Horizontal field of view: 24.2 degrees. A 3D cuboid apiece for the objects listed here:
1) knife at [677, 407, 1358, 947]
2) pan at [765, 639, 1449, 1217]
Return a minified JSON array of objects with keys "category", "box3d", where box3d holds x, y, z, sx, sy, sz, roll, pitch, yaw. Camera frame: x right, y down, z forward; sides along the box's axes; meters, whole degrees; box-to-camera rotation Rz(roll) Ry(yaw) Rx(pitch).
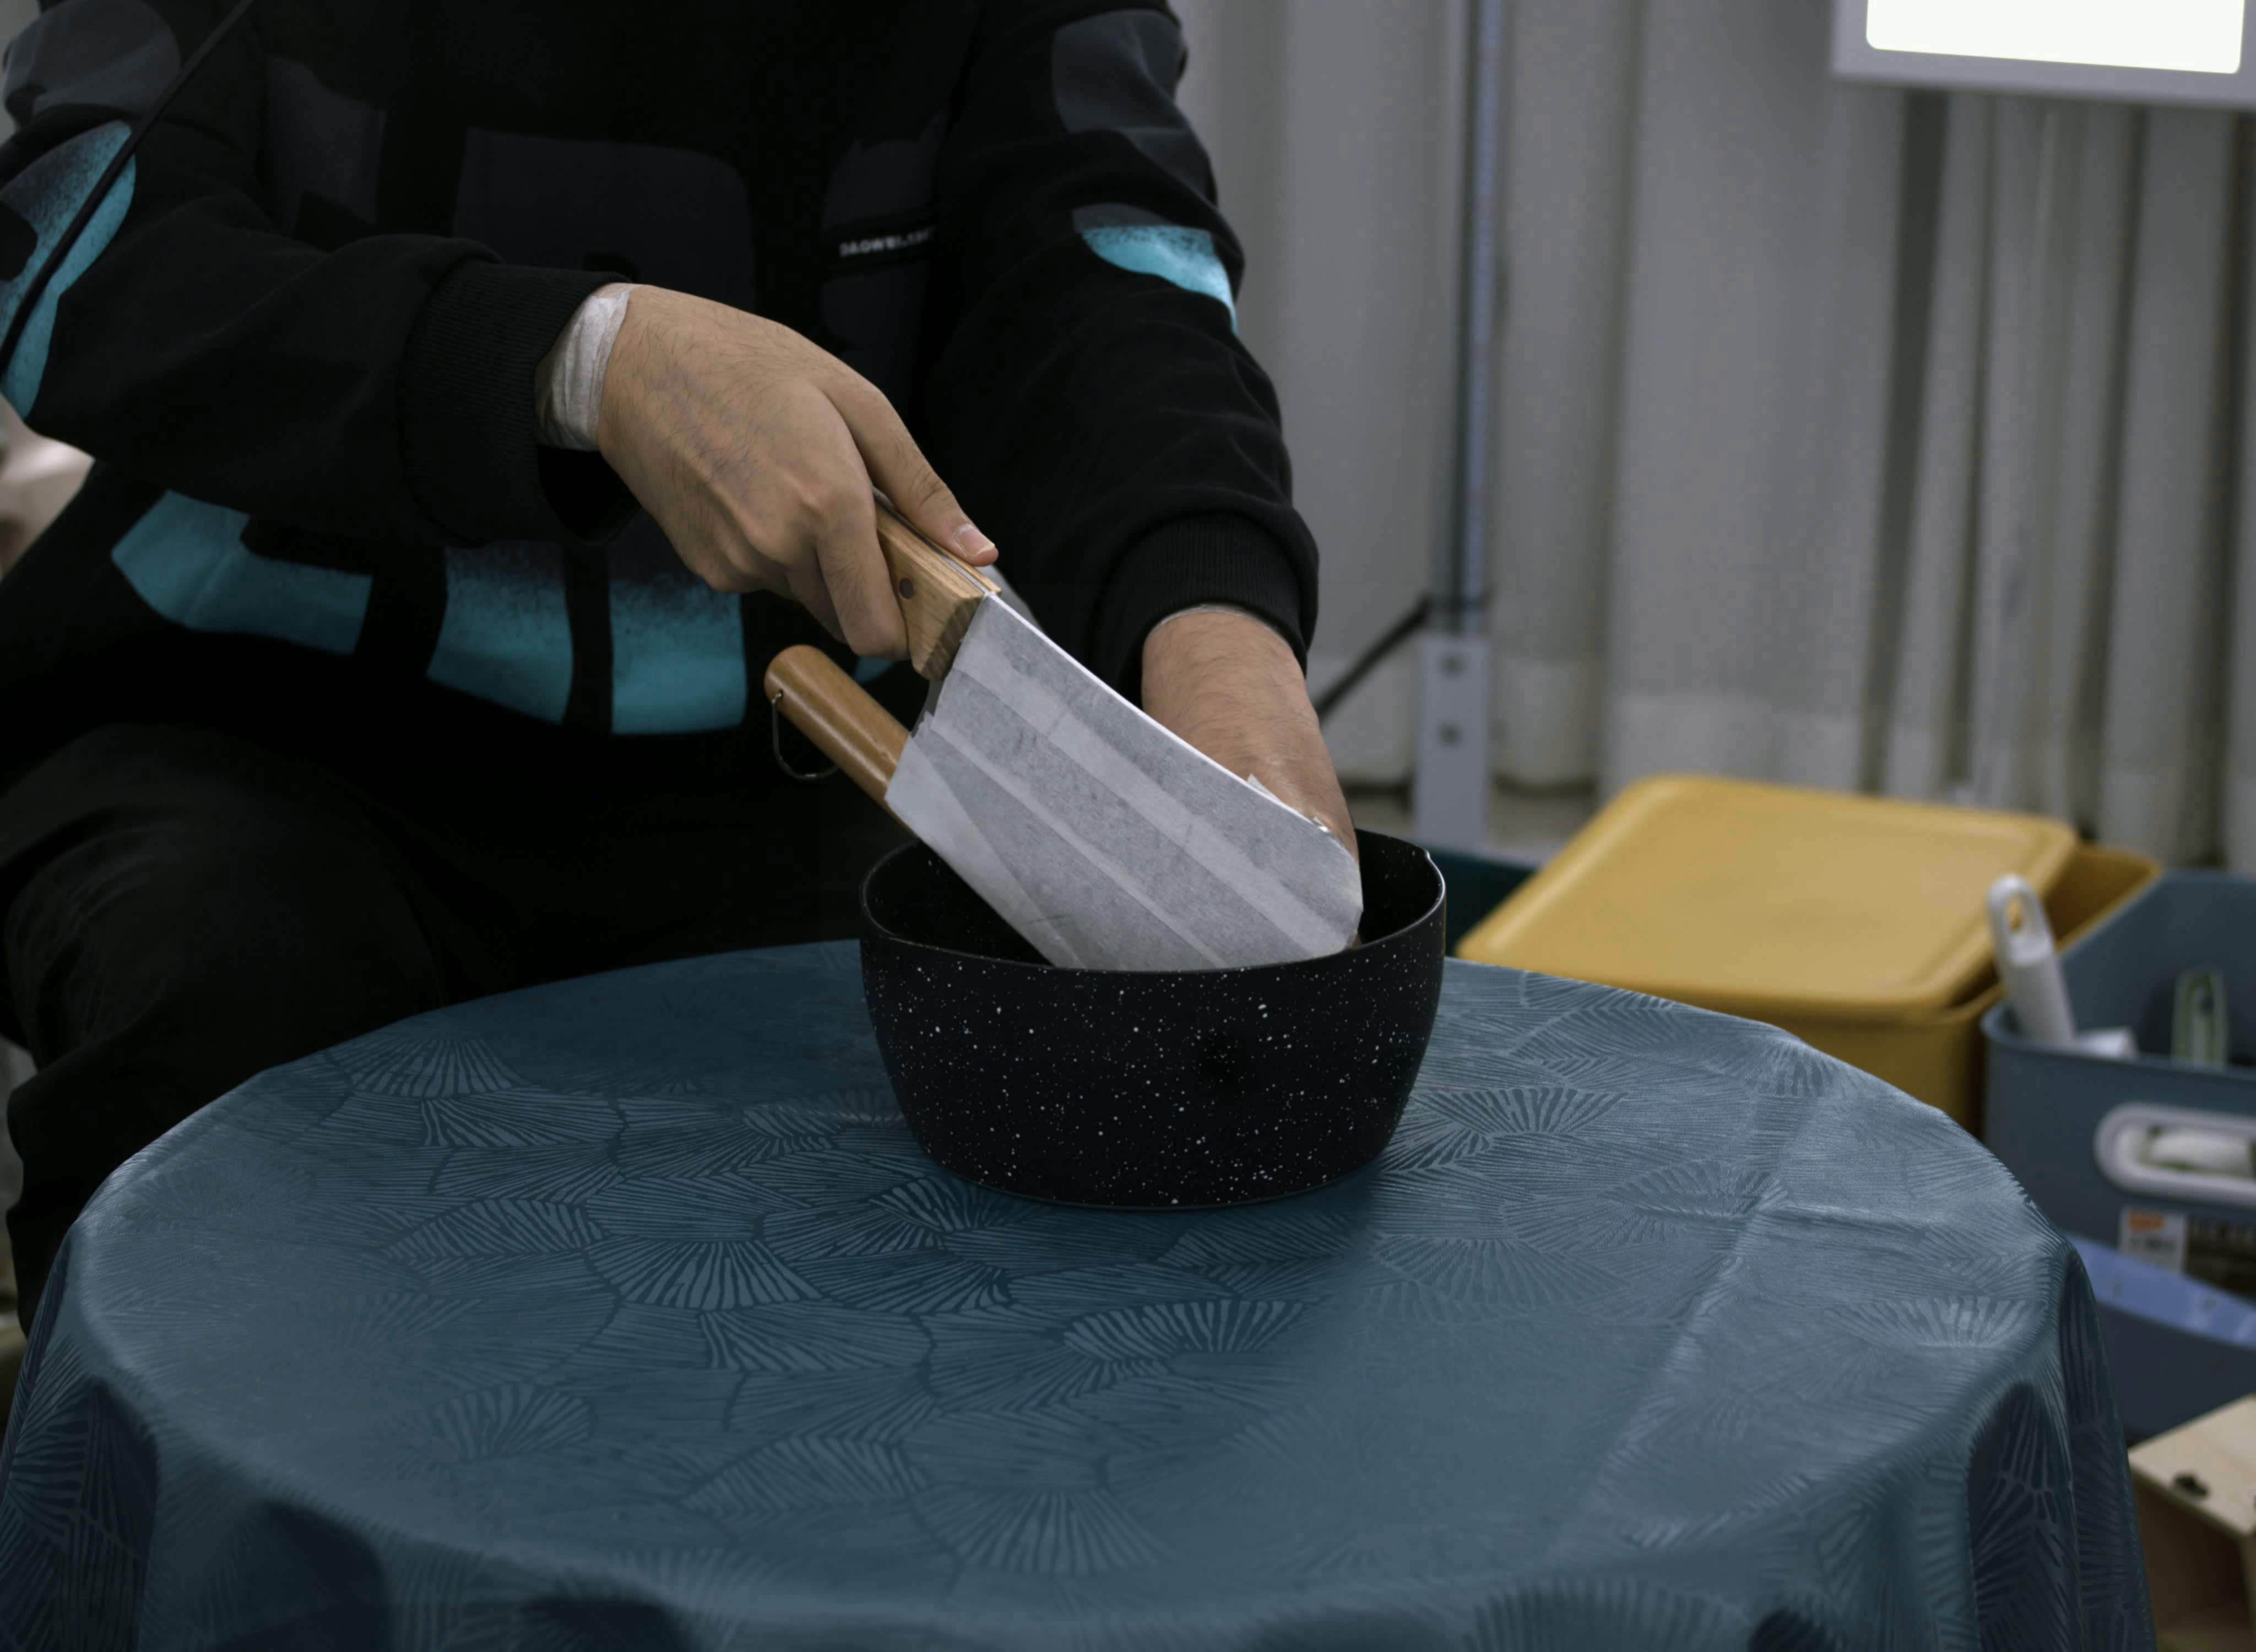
[{"category":"knife","box3d":[-0.040,-0.034,1.666,0.312,0.114,0.022,43,32,26]},{"category":"pan","box3d":[-0.034,0.028,1.719,0.208,0.109,0.338,-11,20,-31]}]
